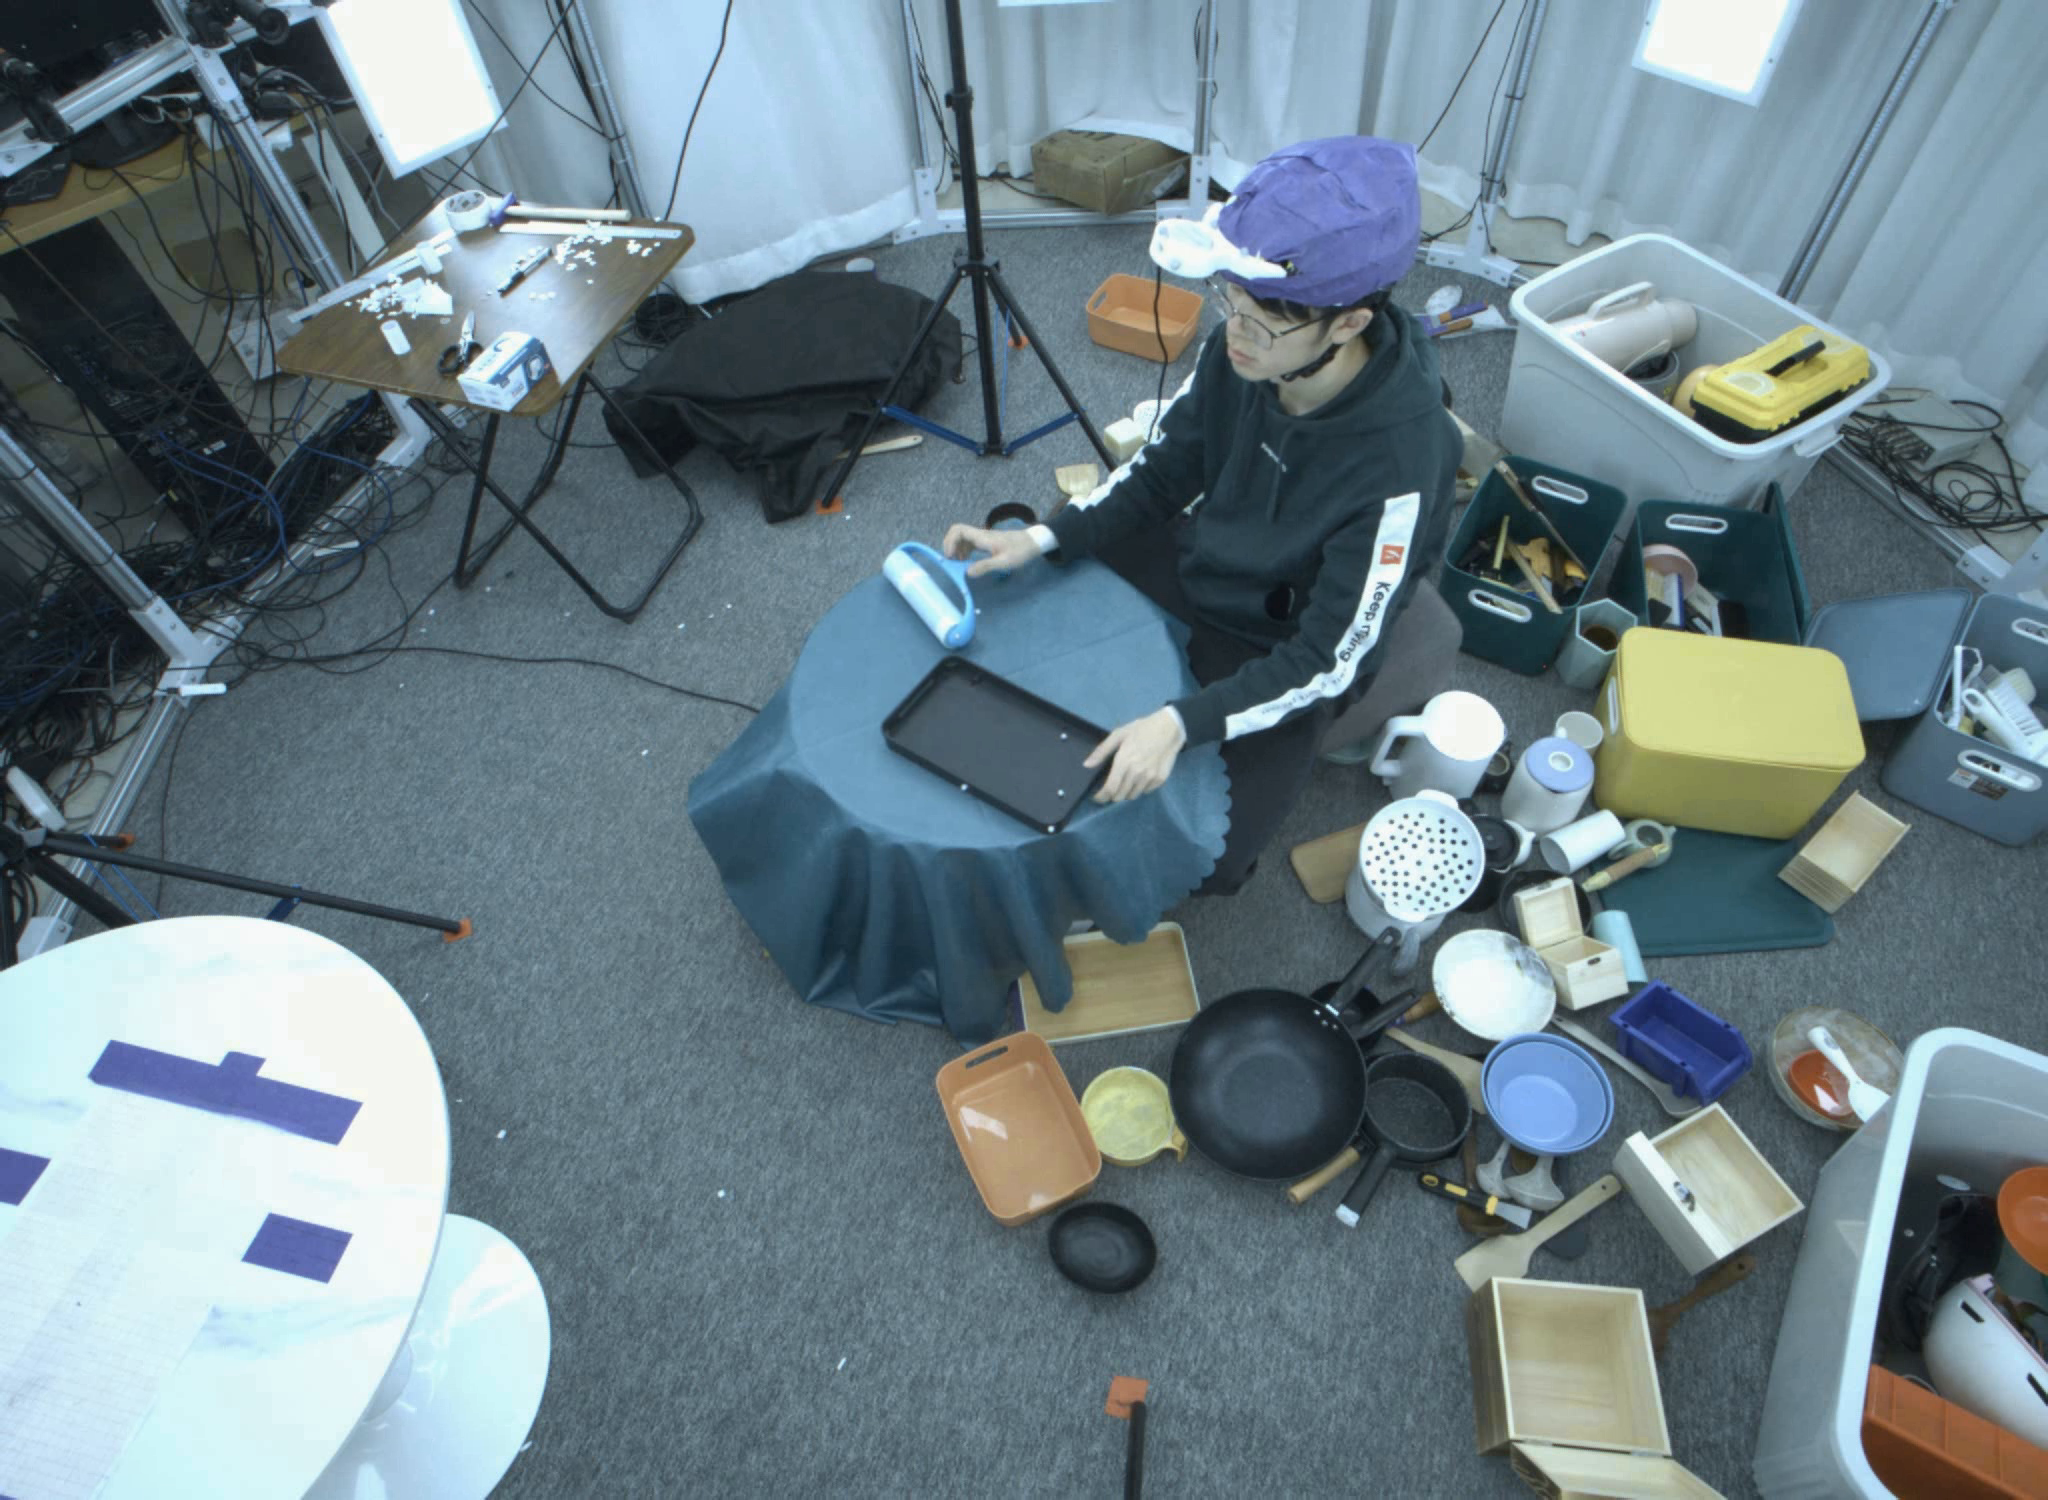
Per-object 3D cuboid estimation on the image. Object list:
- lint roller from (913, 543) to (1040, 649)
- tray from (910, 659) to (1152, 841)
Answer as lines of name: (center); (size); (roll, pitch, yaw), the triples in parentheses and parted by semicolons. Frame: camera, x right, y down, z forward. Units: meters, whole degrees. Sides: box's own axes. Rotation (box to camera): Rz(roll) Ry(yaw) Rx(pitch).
lint roller: (-0.057, -0.267, 1.940); (0.181, 0.069, 0.224); (-31, 57, -17)
tray: (0.009, -0.005, 1.765); (0.313, 0.037, 0.185); (28, 60, 21)
